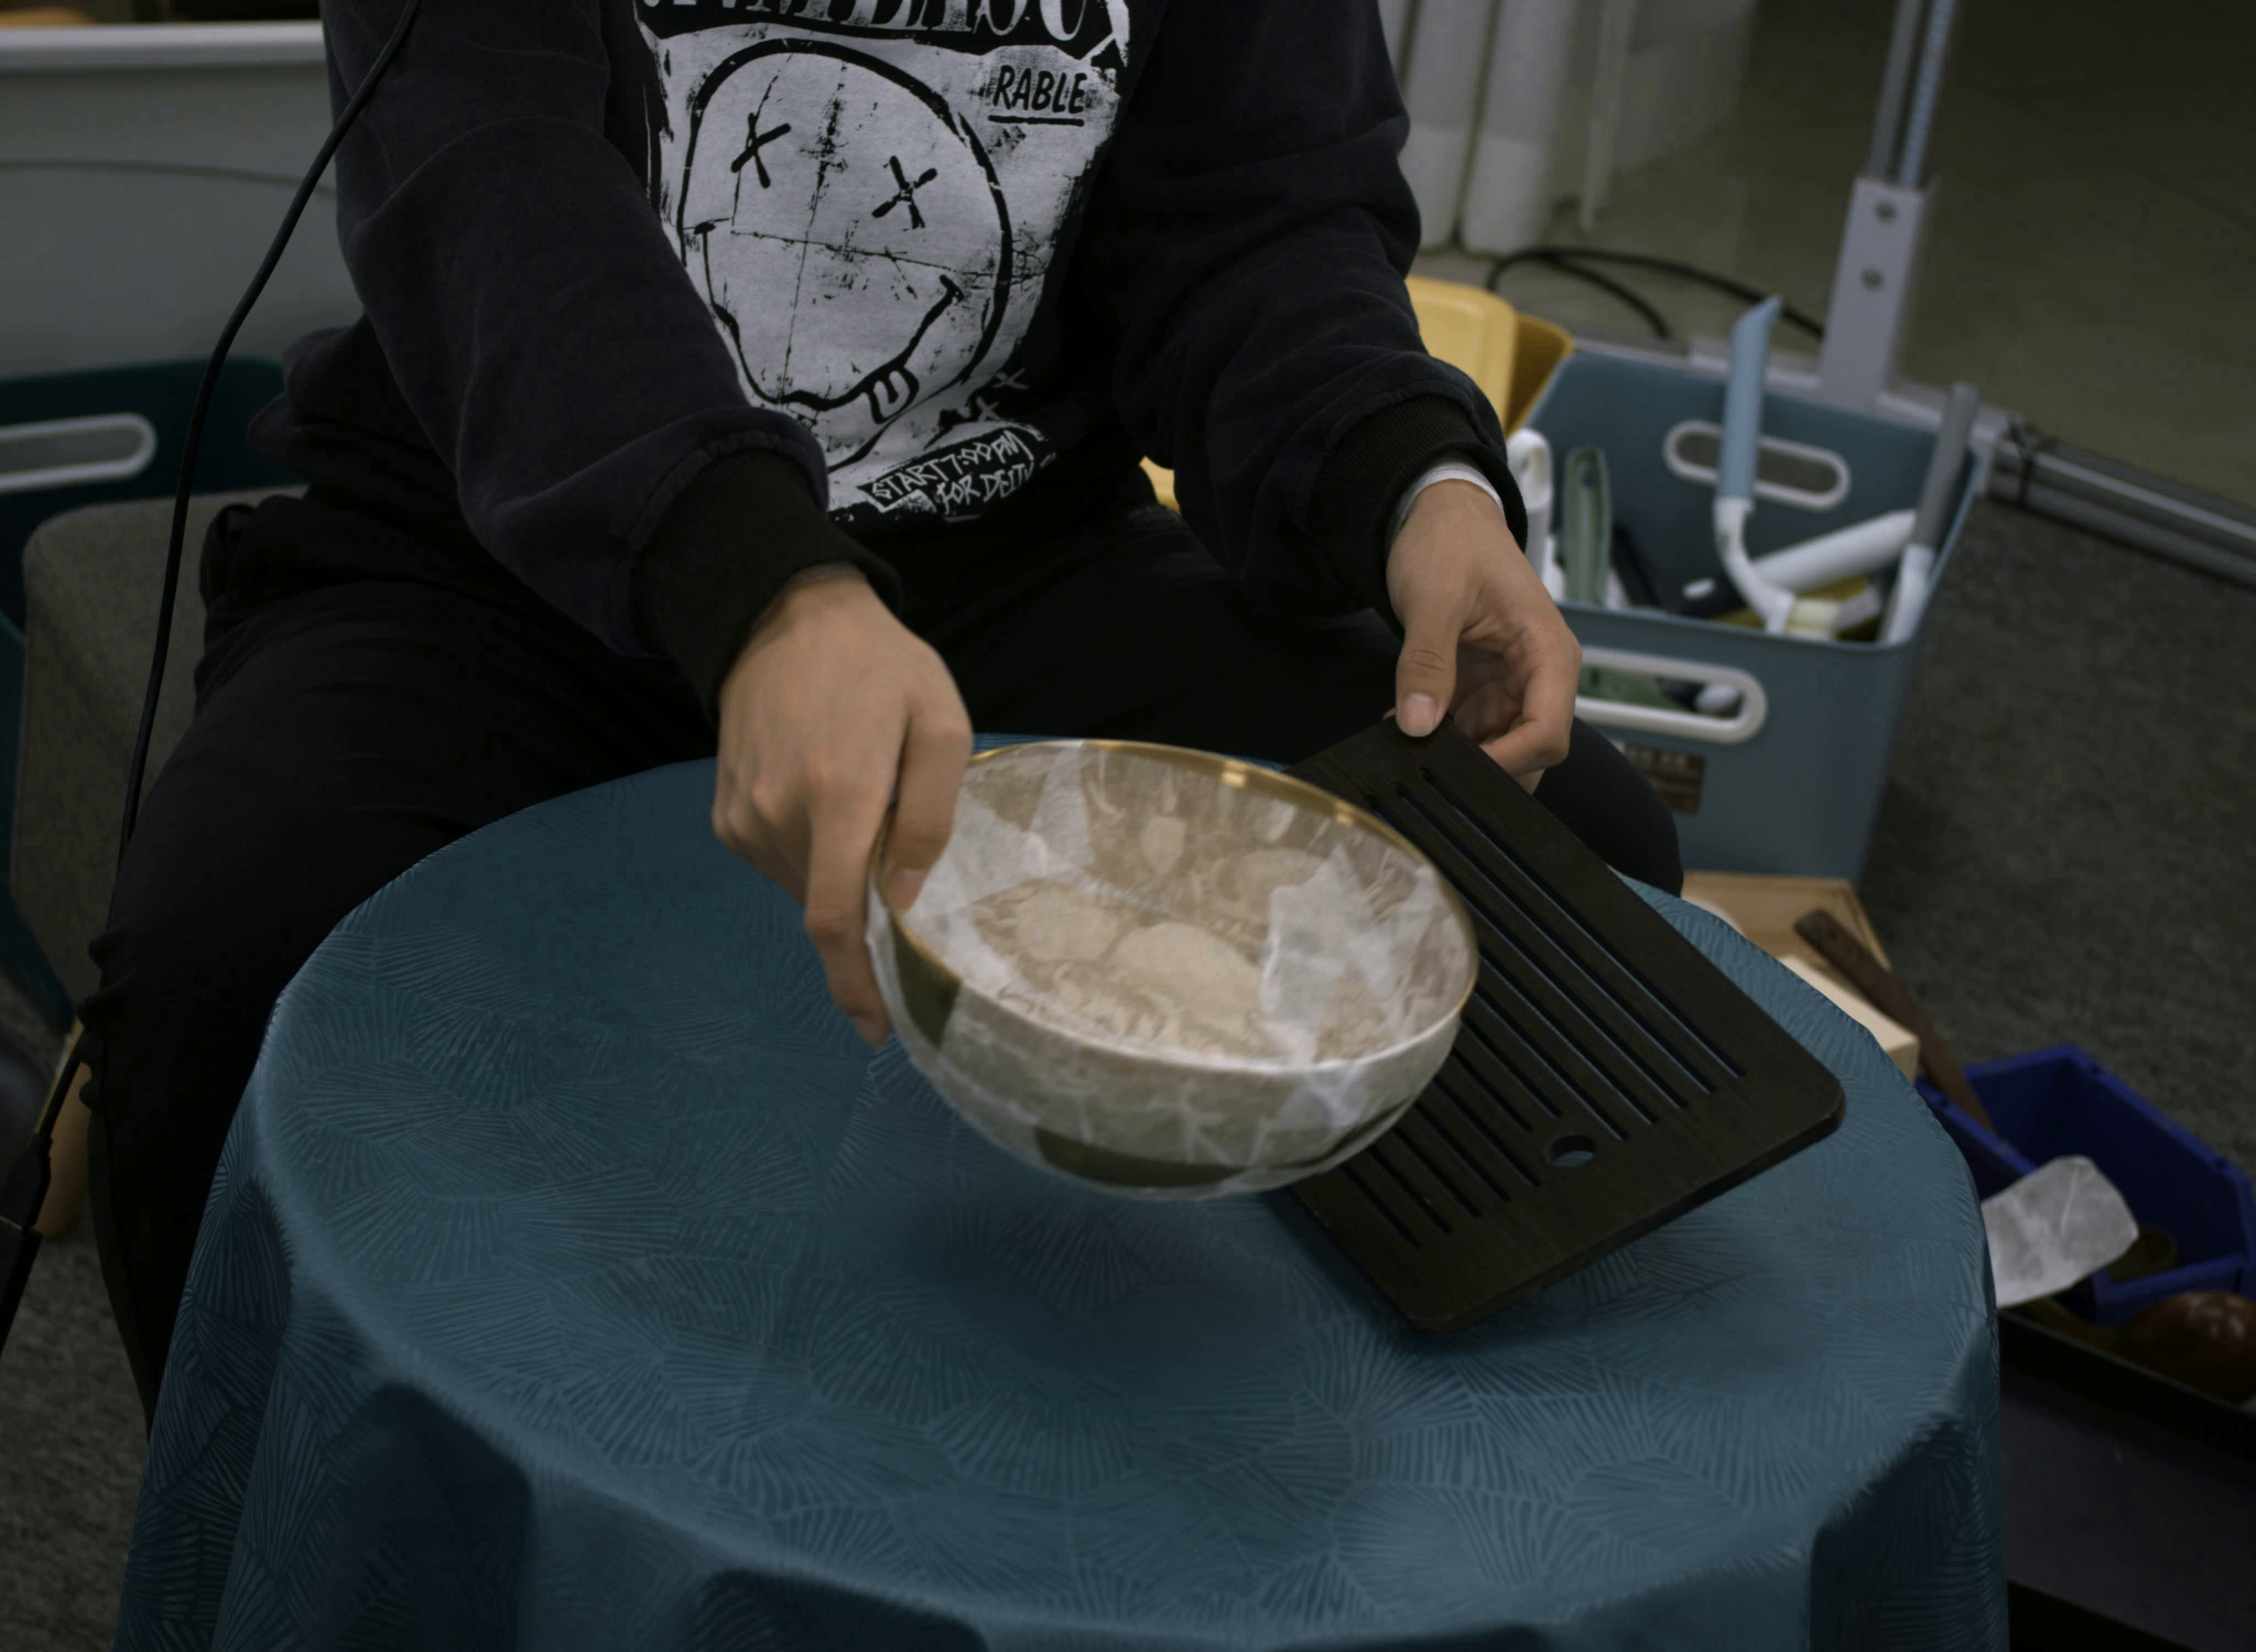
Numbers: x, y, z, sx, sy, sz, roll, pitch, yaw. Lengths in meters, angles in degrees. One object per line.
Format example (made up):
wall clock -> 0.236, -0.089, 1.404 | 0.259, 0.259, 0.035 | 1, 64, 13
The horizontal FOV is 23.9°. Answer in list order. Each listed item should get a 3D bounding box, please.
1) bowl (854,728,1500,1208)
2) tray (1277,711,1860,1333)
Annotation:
bowl -> 0.006, 0.060, 1.732 | 0.214, 0.094, 0.216 | 8, 29, -5
tray -> 0.109, 0.064, 1.858 | 0.169, 0.018, 0.309 | -27, 36, -13
